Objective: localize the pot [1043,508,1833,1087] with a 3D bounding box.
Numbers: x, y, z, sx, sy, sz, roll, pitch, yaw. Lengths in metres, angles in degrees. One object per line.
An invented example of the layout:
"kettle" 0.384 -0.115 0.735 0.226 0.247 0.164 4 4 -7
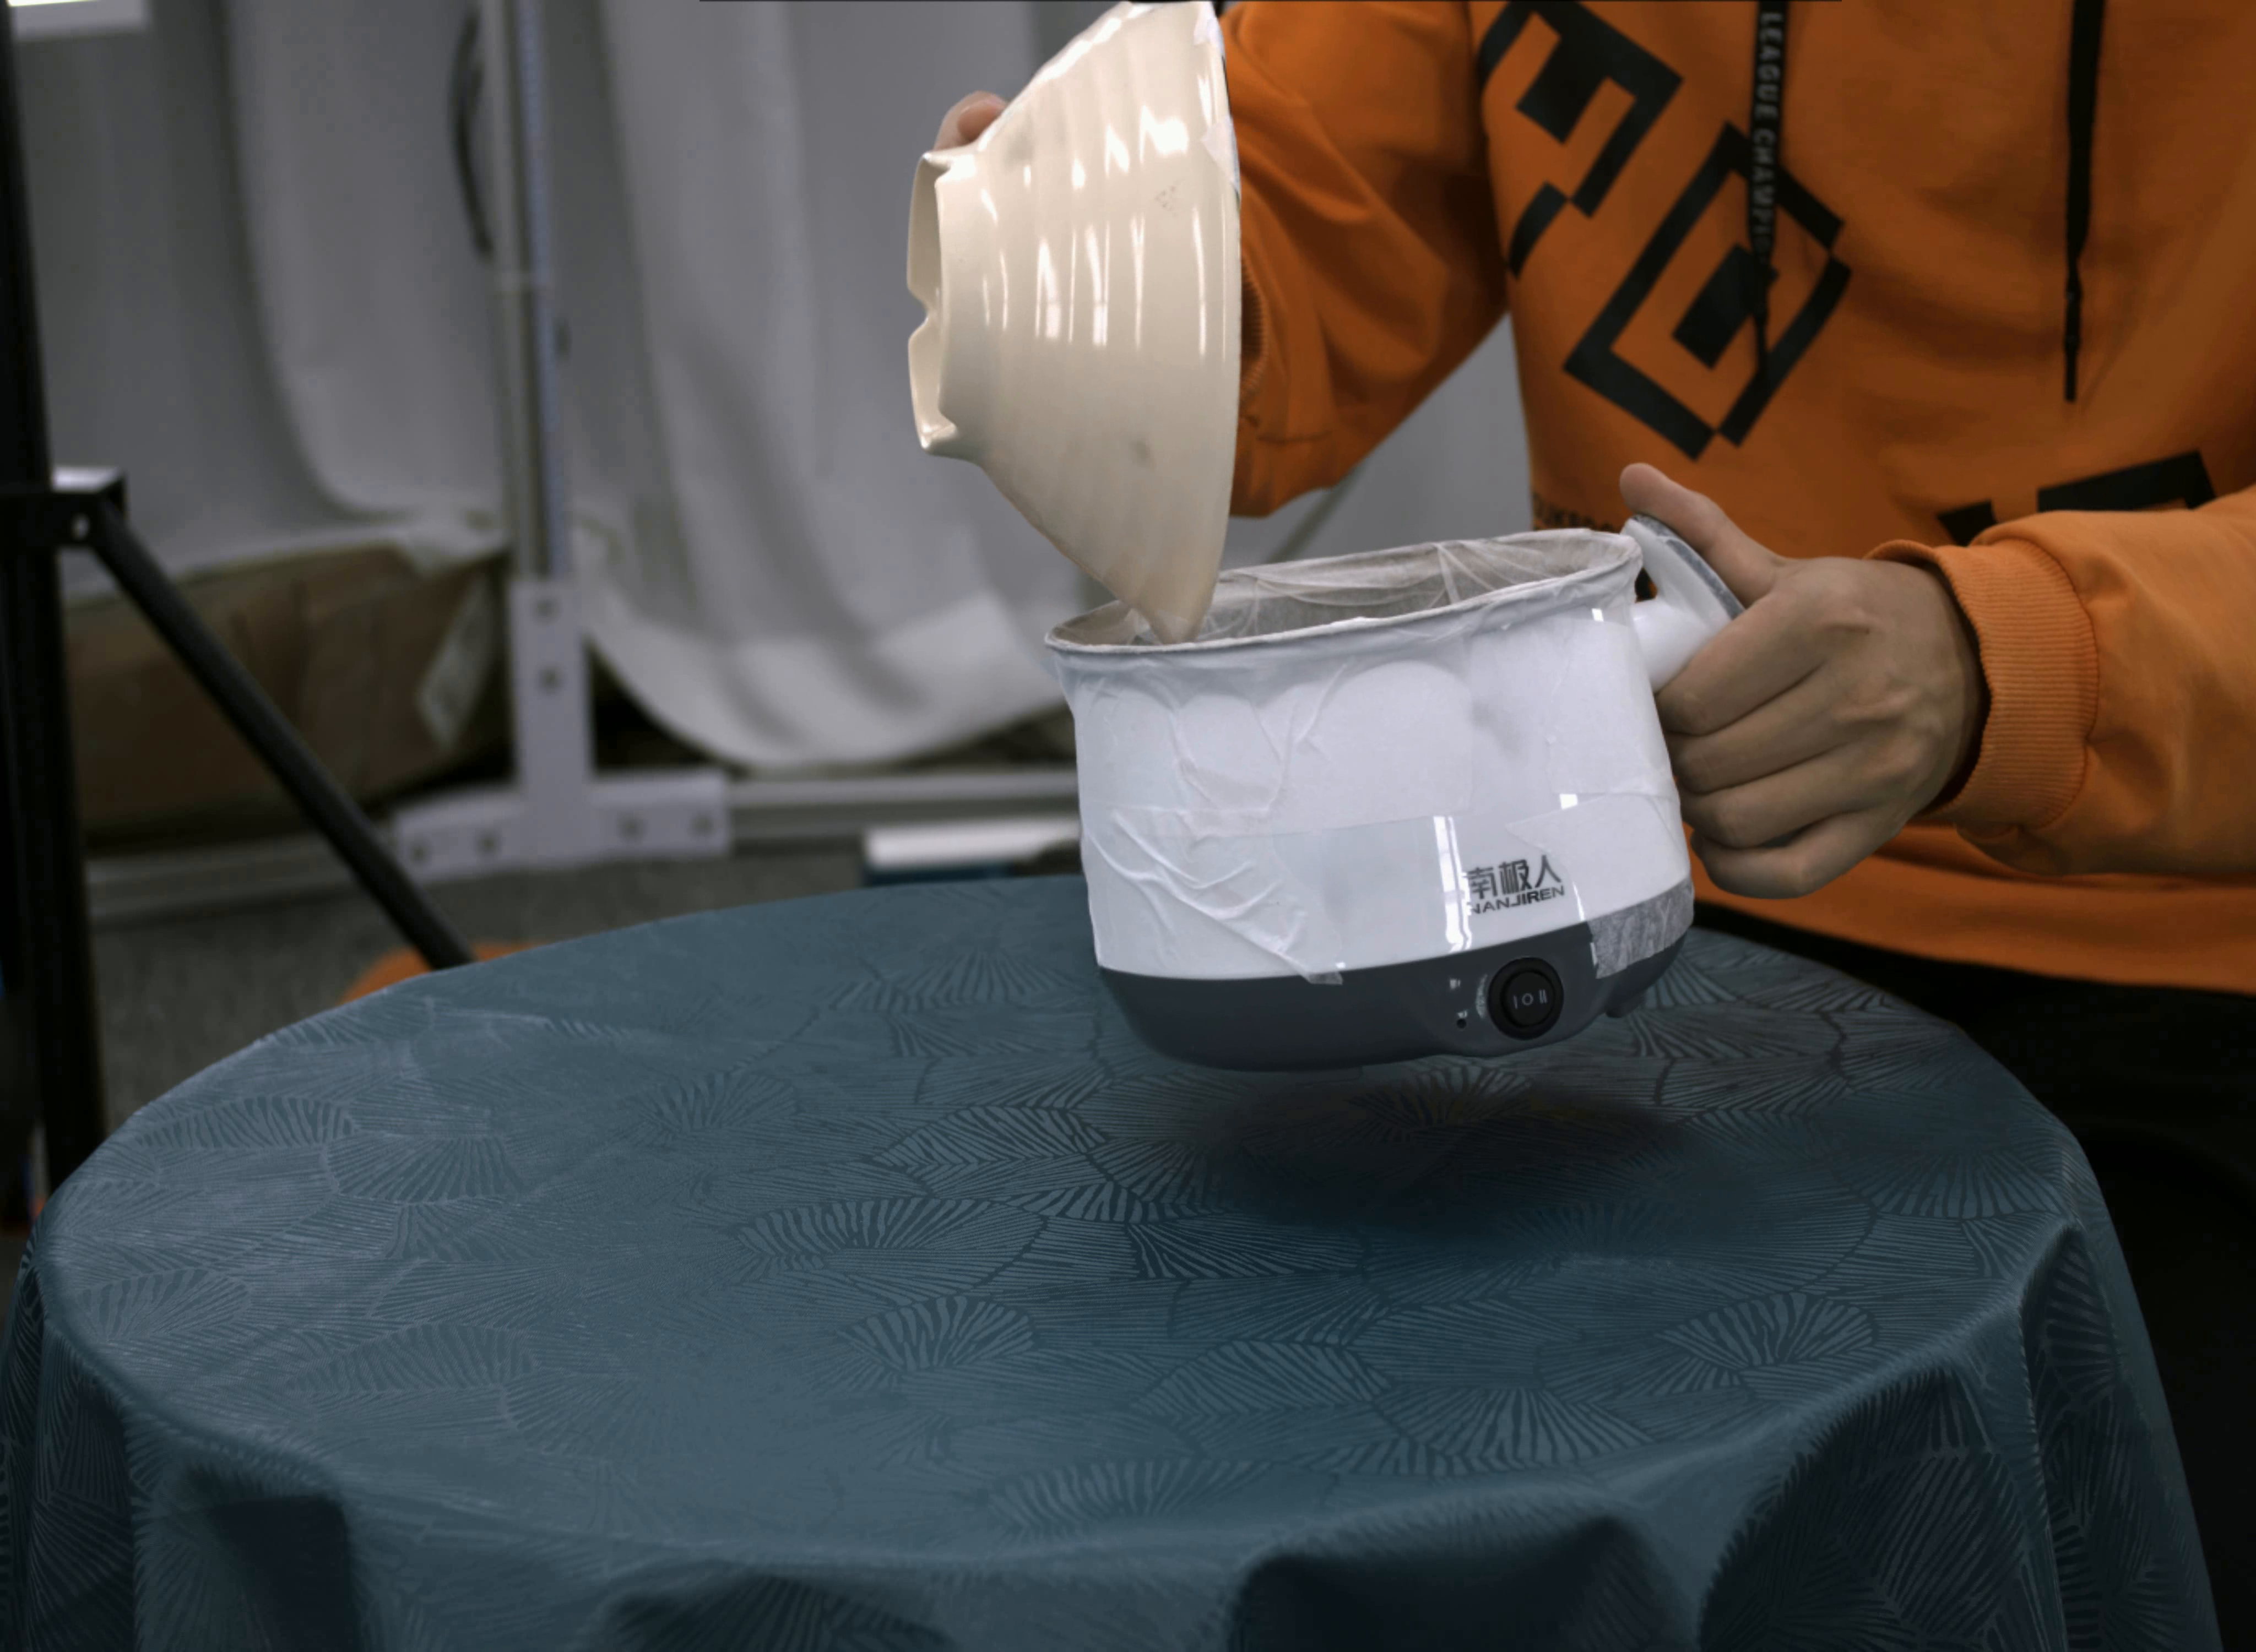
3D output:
"pot" 0.097 -0.013 1.568 0.229 0.137 0.182 -12 9 -21

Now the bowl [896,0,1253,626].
"bowl" -0.023 -0.155 1.549 0.077 0.204 0.206 1 15 -12
